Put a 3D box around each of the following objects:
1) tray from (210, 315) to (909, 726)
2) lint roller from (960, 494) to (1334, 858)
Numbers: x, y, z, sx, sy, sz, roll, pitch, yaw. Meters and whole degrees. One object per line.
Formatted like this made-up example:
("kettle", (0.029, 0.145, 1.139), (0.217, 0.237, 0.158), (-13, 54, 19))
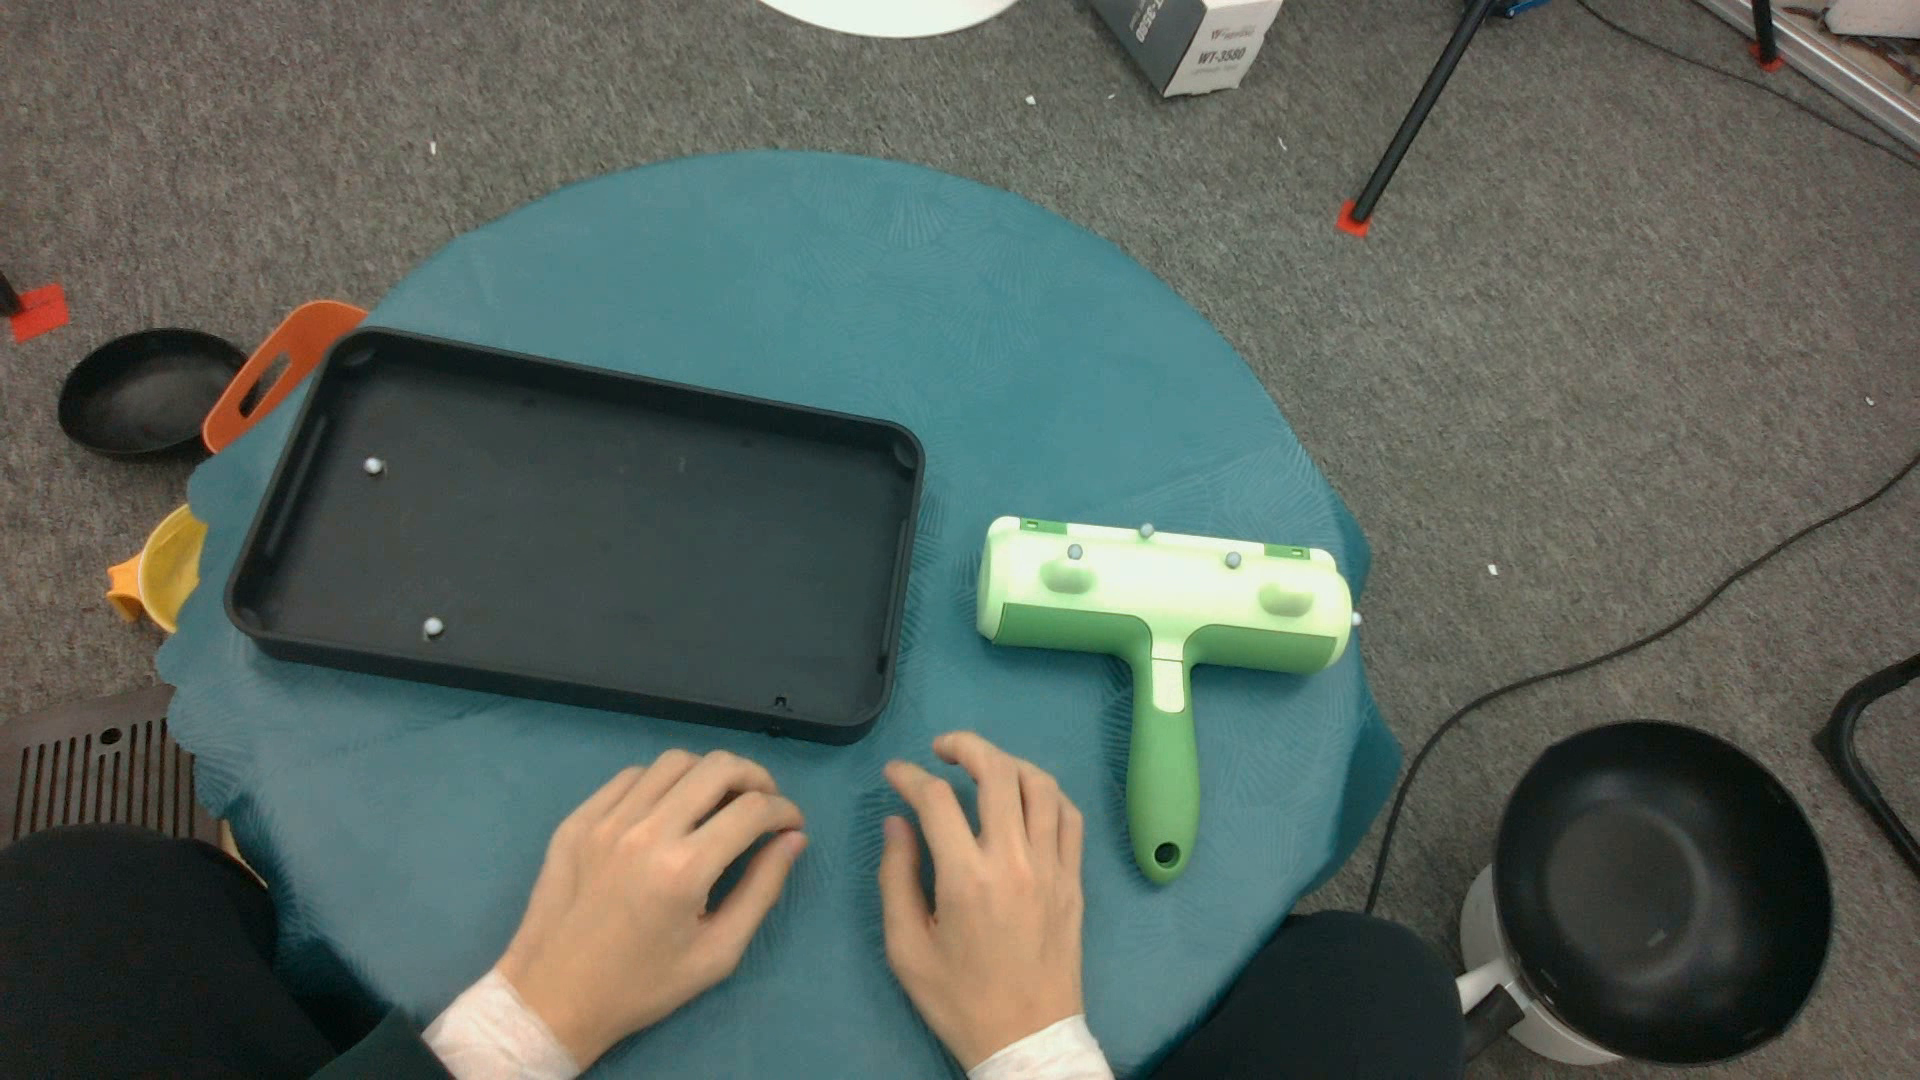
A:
("tray", (-0.192, -0.011, 0.710), (0.318, 0.037, 0.185), (9, 61, -6))
("lint roller", (0.101, 0.063, 0.701), (0.199, 0.082, 0.184), (5, 58, -8))
